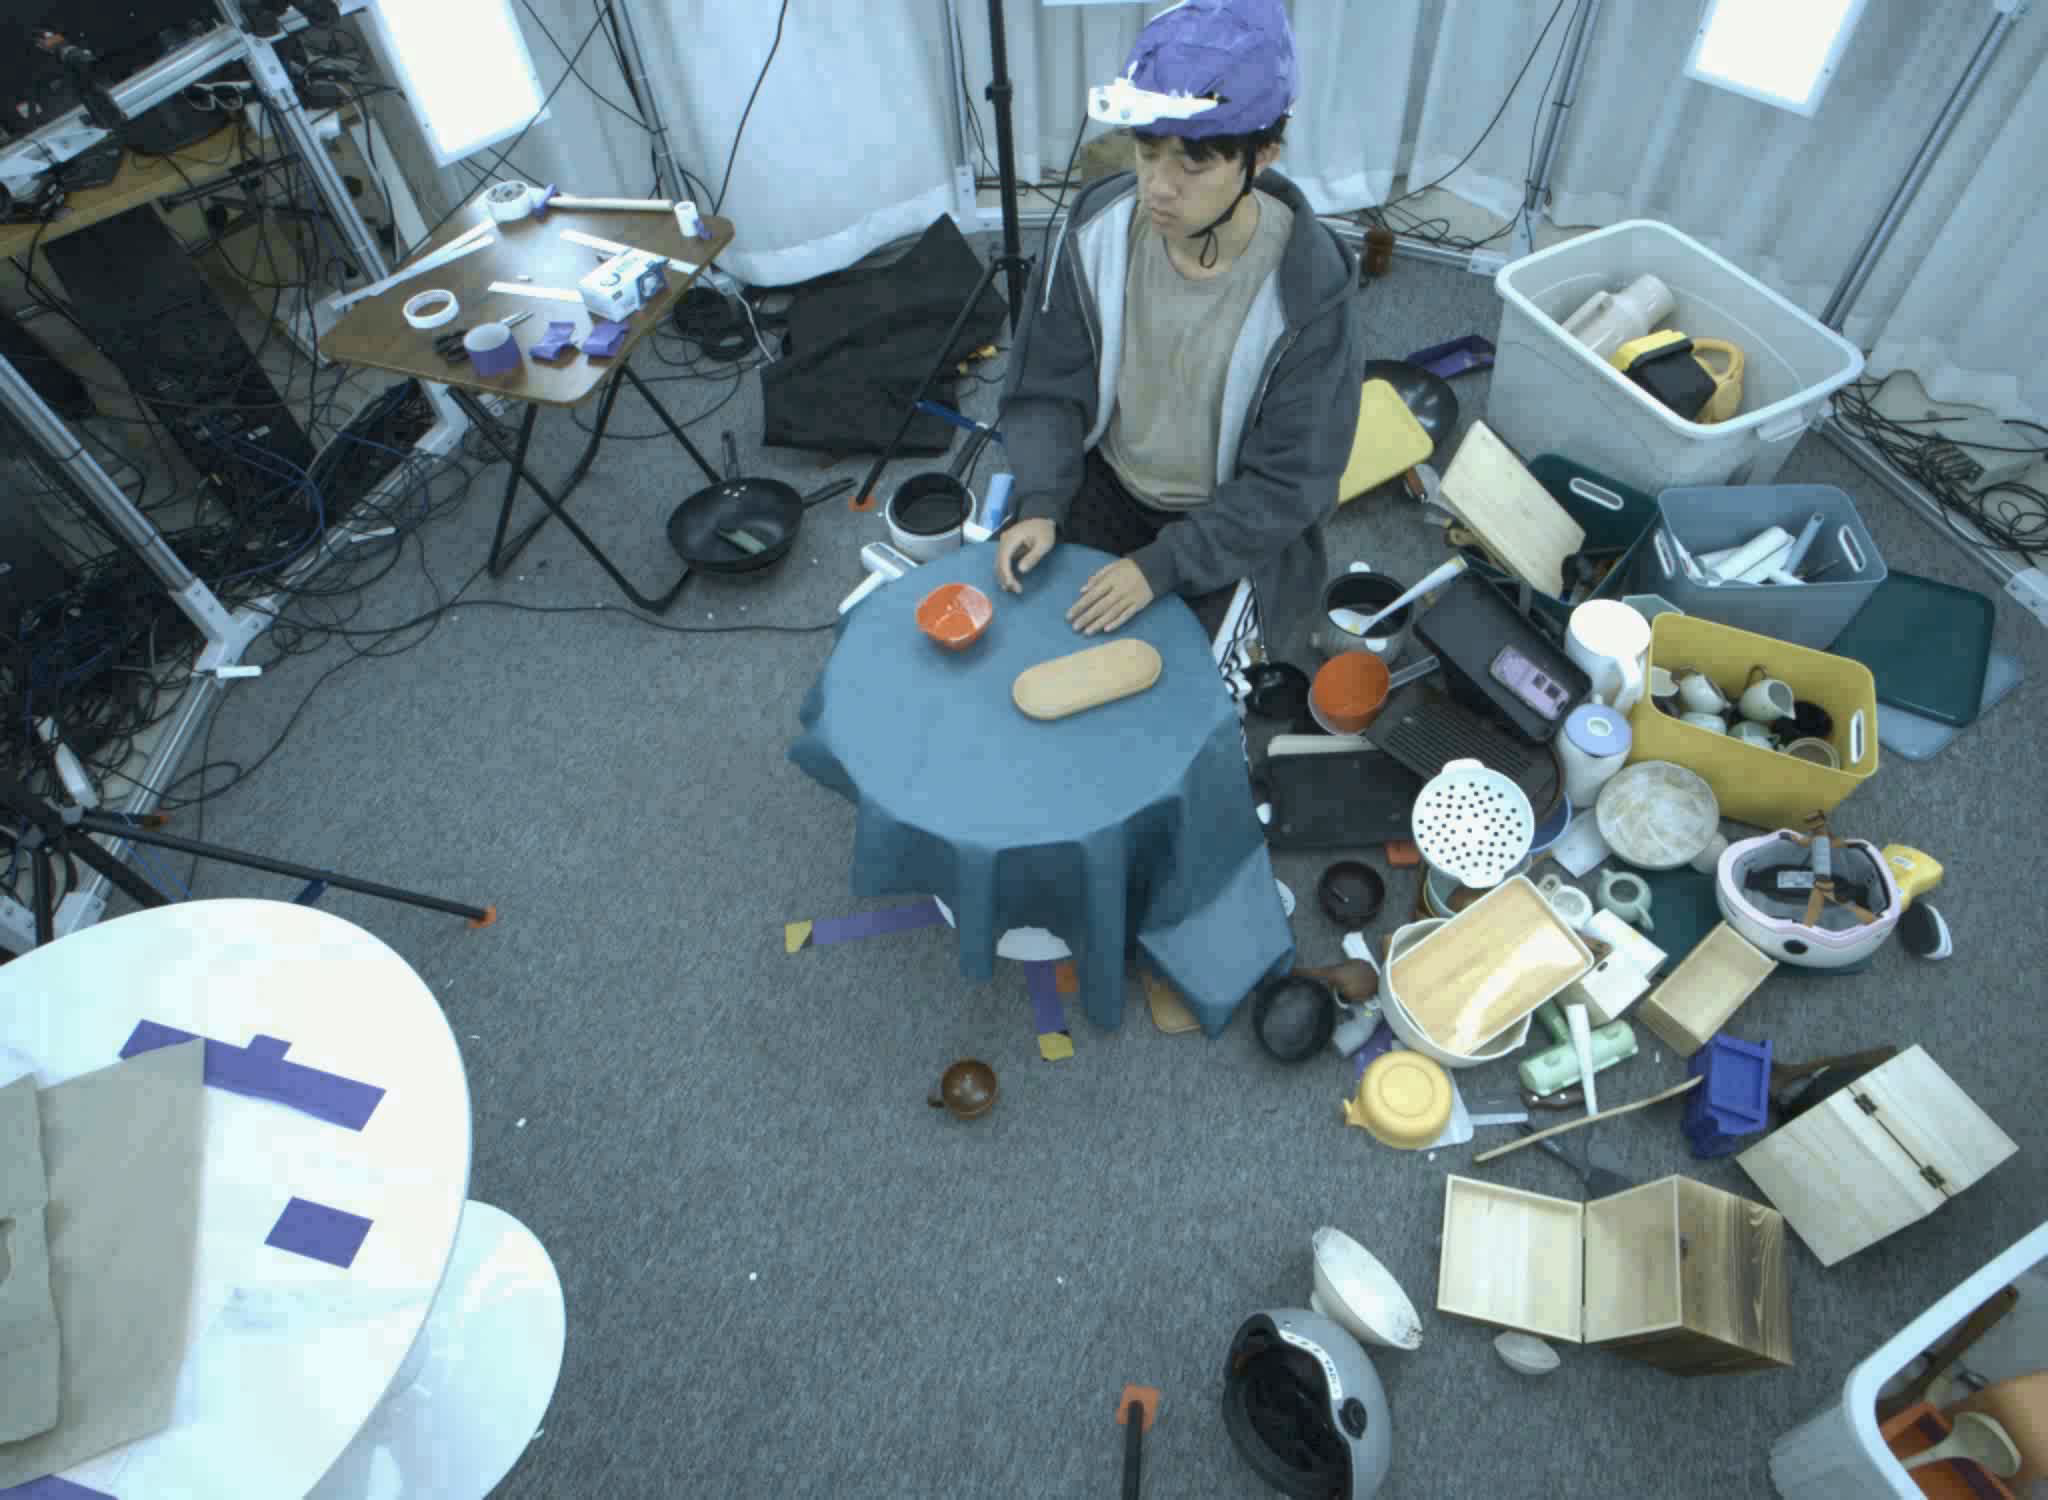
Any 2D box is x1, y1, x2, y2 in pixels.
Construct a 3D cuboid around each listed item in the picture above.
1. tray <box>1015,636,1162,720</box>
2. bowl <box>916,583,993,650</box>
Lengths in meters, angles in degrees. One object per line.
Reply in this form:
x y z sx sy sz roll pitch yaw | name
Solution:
0.098 -0.109 1.854 0.233 0.020 0.100 -19 57 -12 | tray
-0.106 -0.200 1.903 0.119 0.052 0.117 -1 54 3 | bowl
